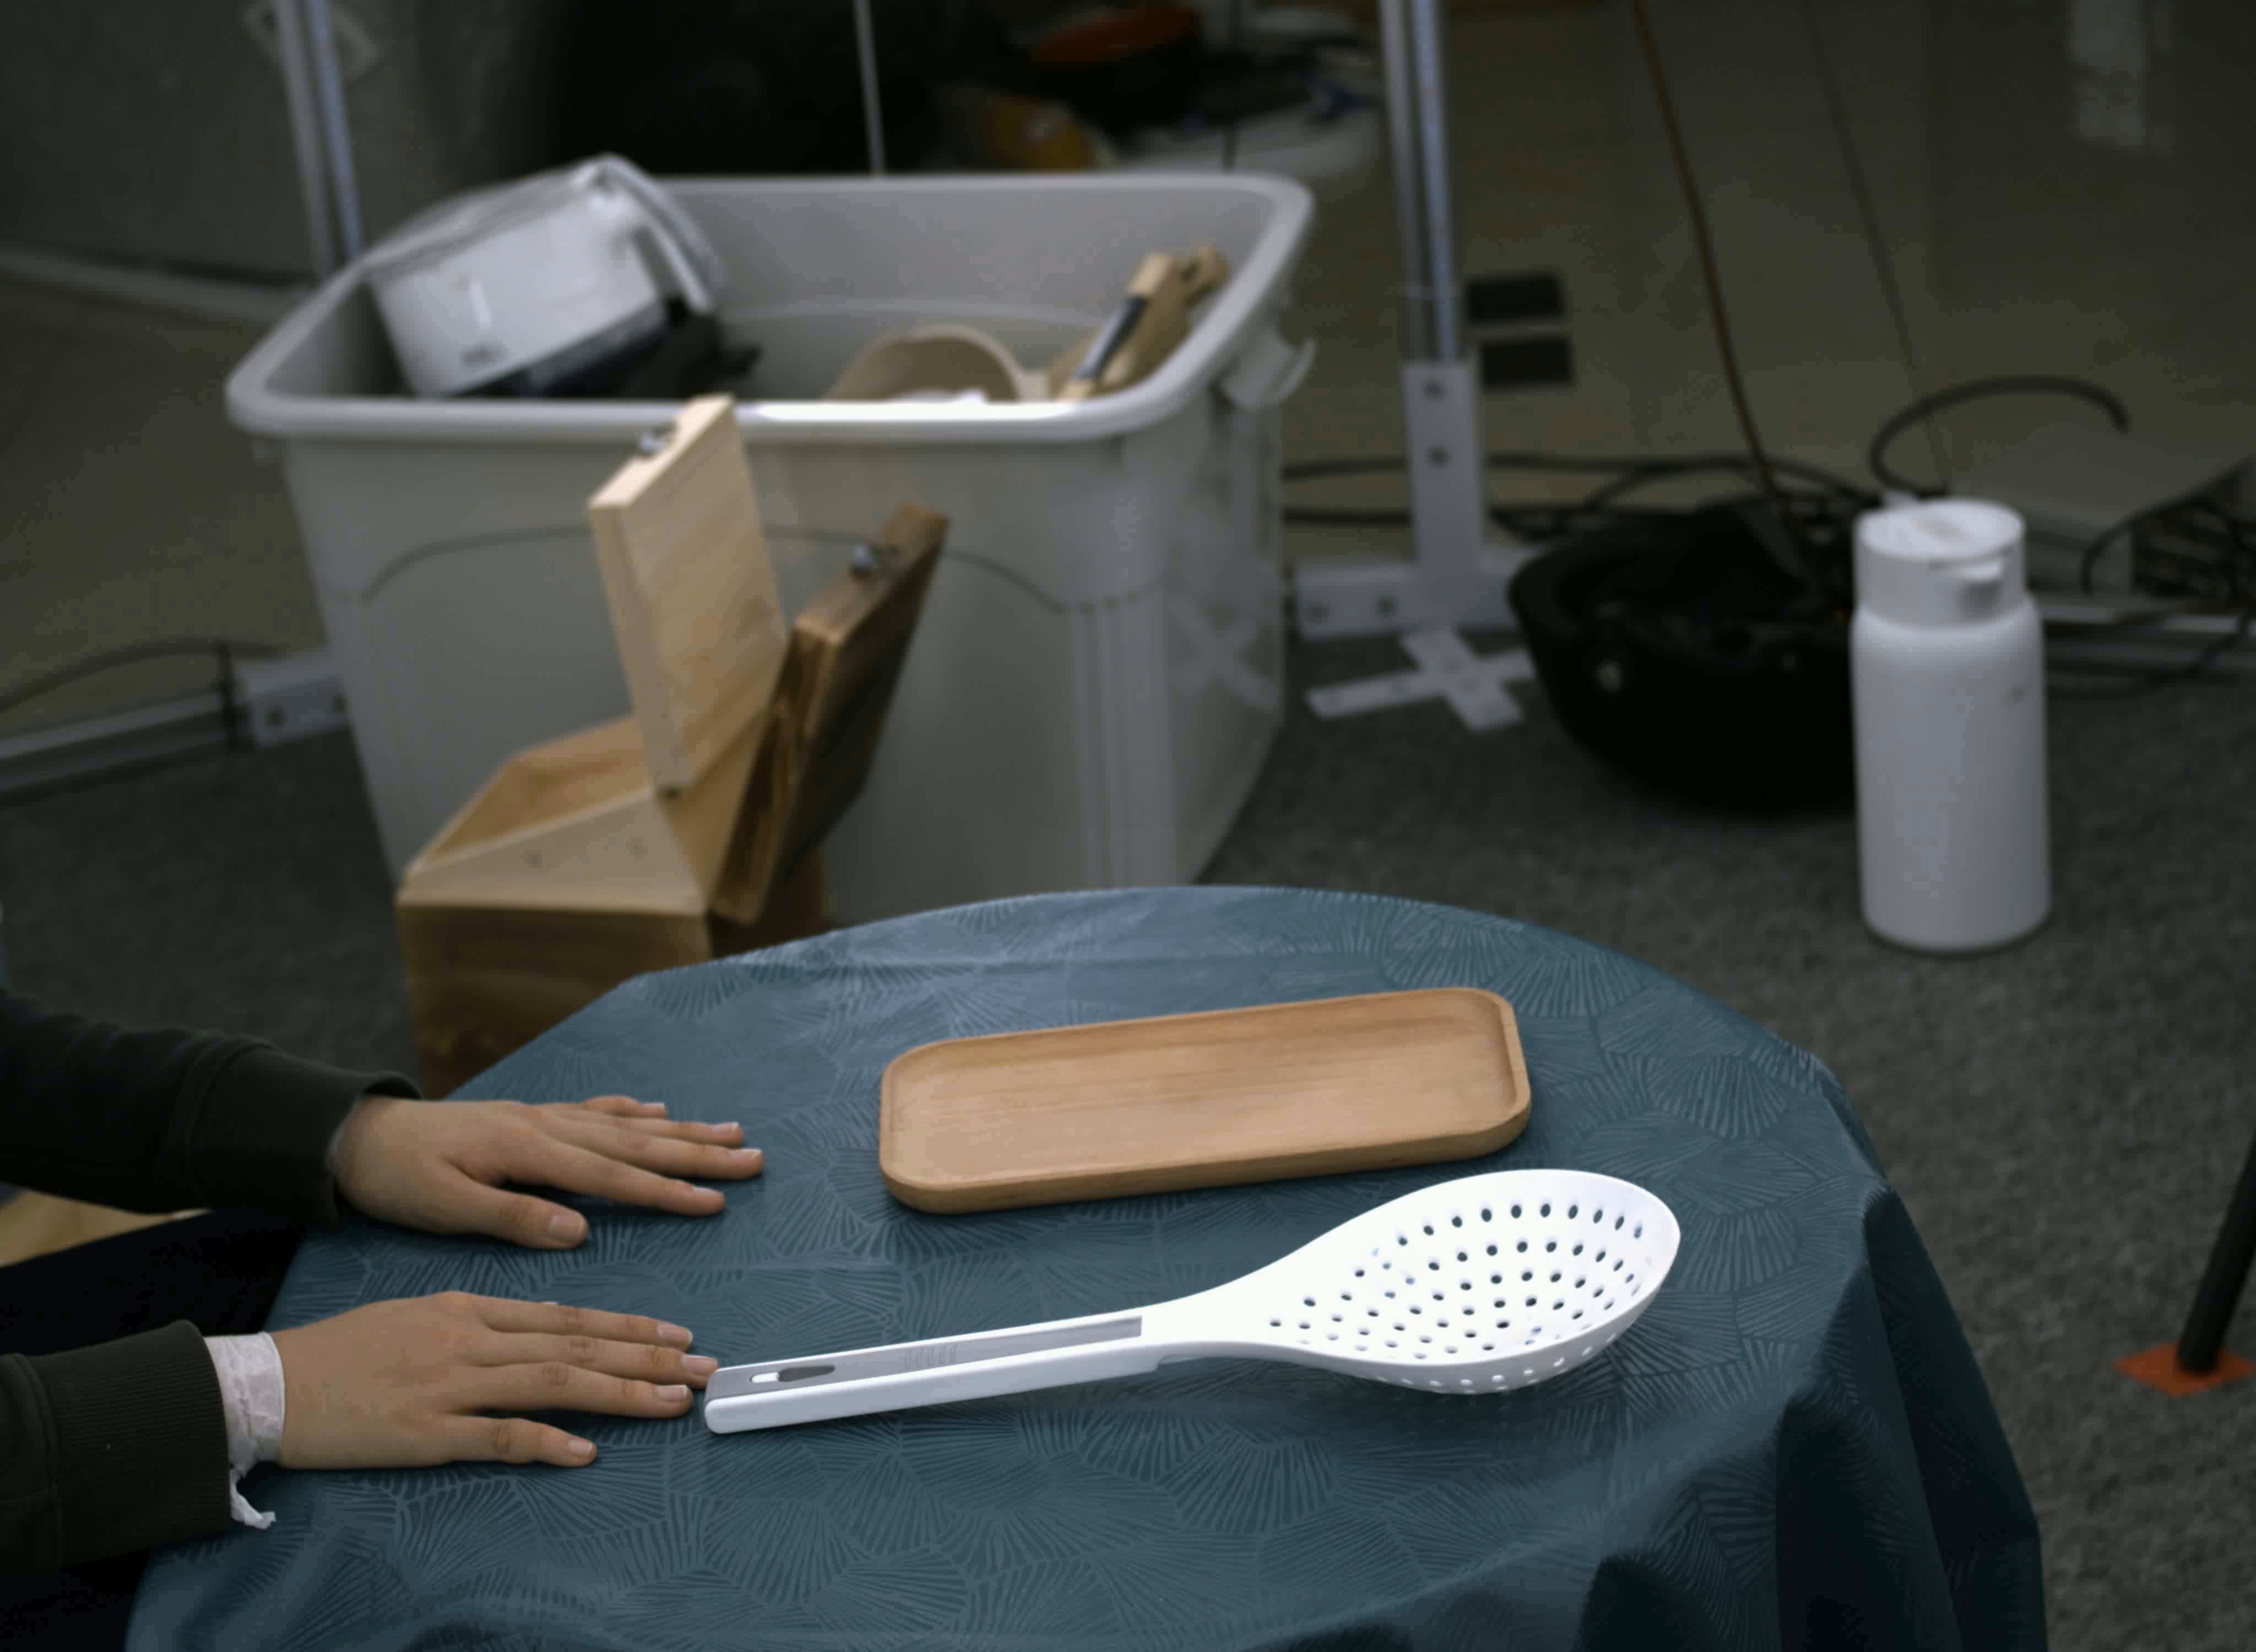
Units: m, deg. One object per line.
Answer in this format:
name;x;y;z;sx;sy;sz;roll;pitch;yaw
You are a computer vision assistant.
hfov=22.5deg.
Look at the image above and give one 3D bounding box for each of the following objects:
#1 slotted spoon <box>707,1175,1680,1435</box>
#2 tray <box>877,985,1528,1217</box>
slotted spoon;0.022;0.179;2.008;0.349;0.046;0.134;-5;23;5
tray;0.028;0.107;2.196;0.250;0.023;0.129;-7;23;2
